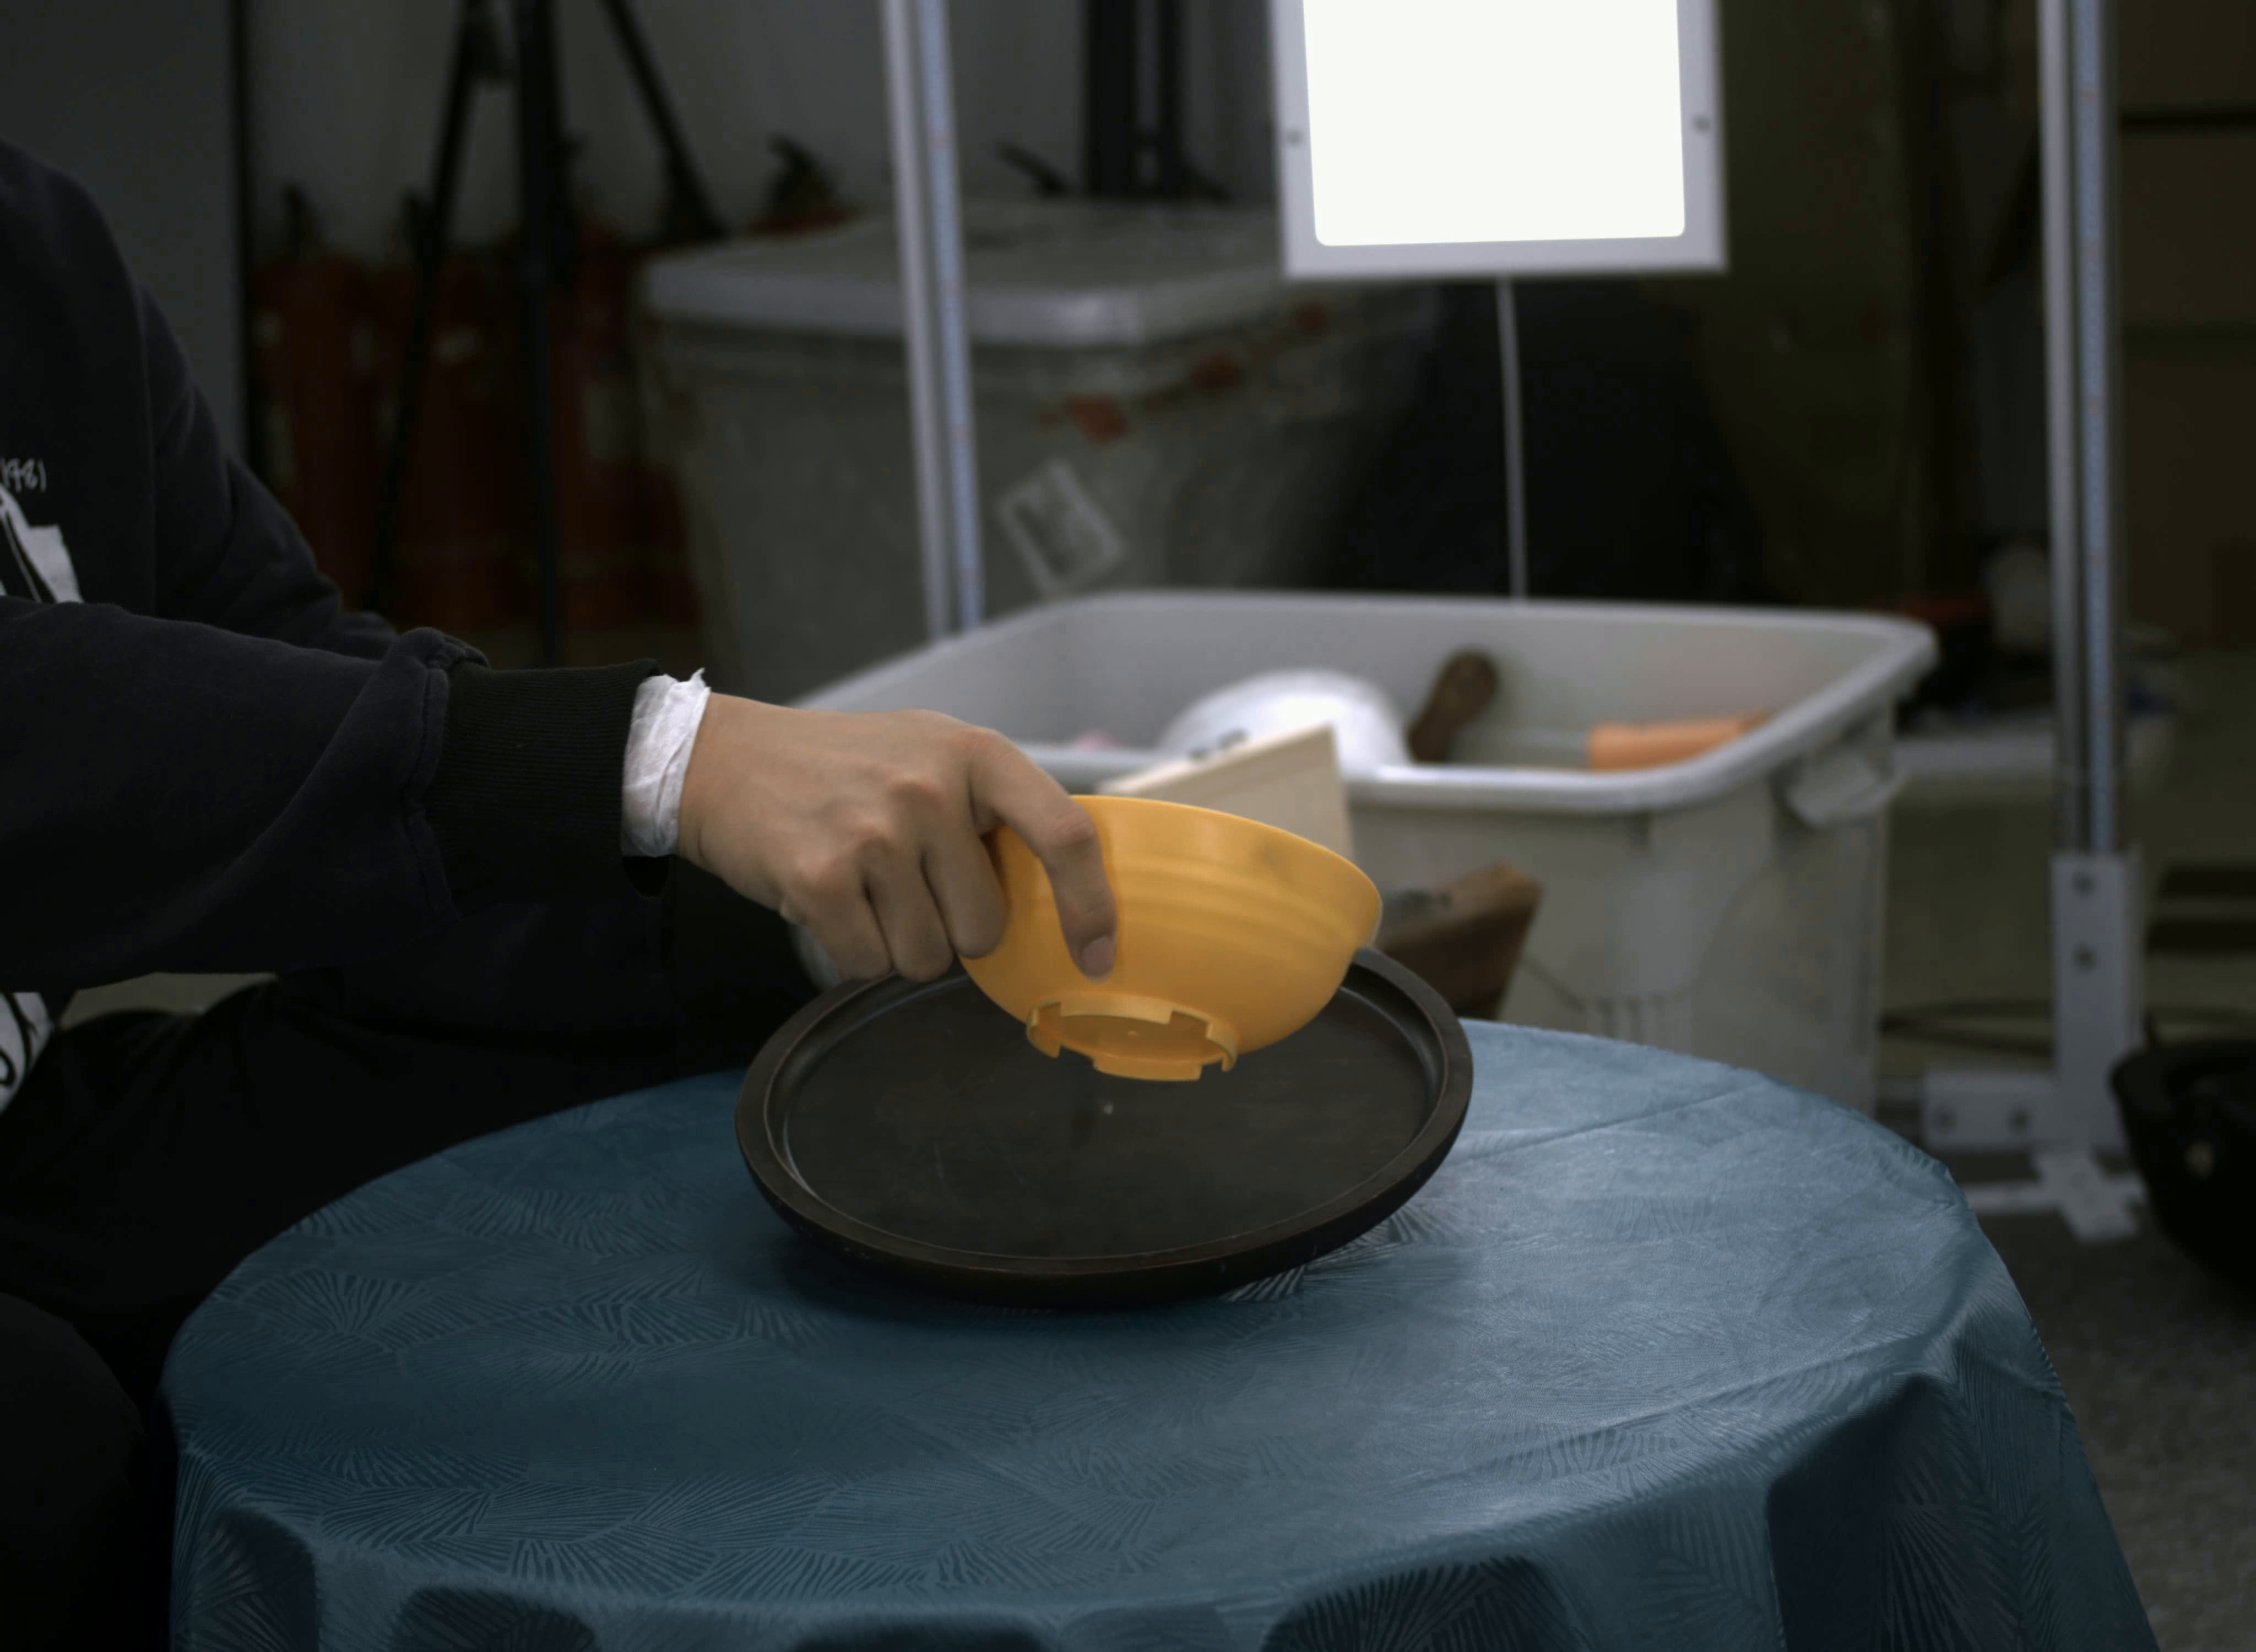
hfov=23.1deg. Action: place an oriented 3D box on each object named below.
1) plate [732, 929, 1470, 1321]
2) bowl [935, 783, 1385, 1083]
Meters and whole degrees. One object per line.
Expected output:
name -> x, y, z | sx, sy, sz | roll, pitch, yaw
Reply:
plate -> -0.009, 0.095, 1.878 | 0.254, 0.029, 0.254 | -6, 28, 2
bowl -> 0.007, 0.042, 1.727 | 0.145, 0.060, 0.146 | 8, -21, 2
